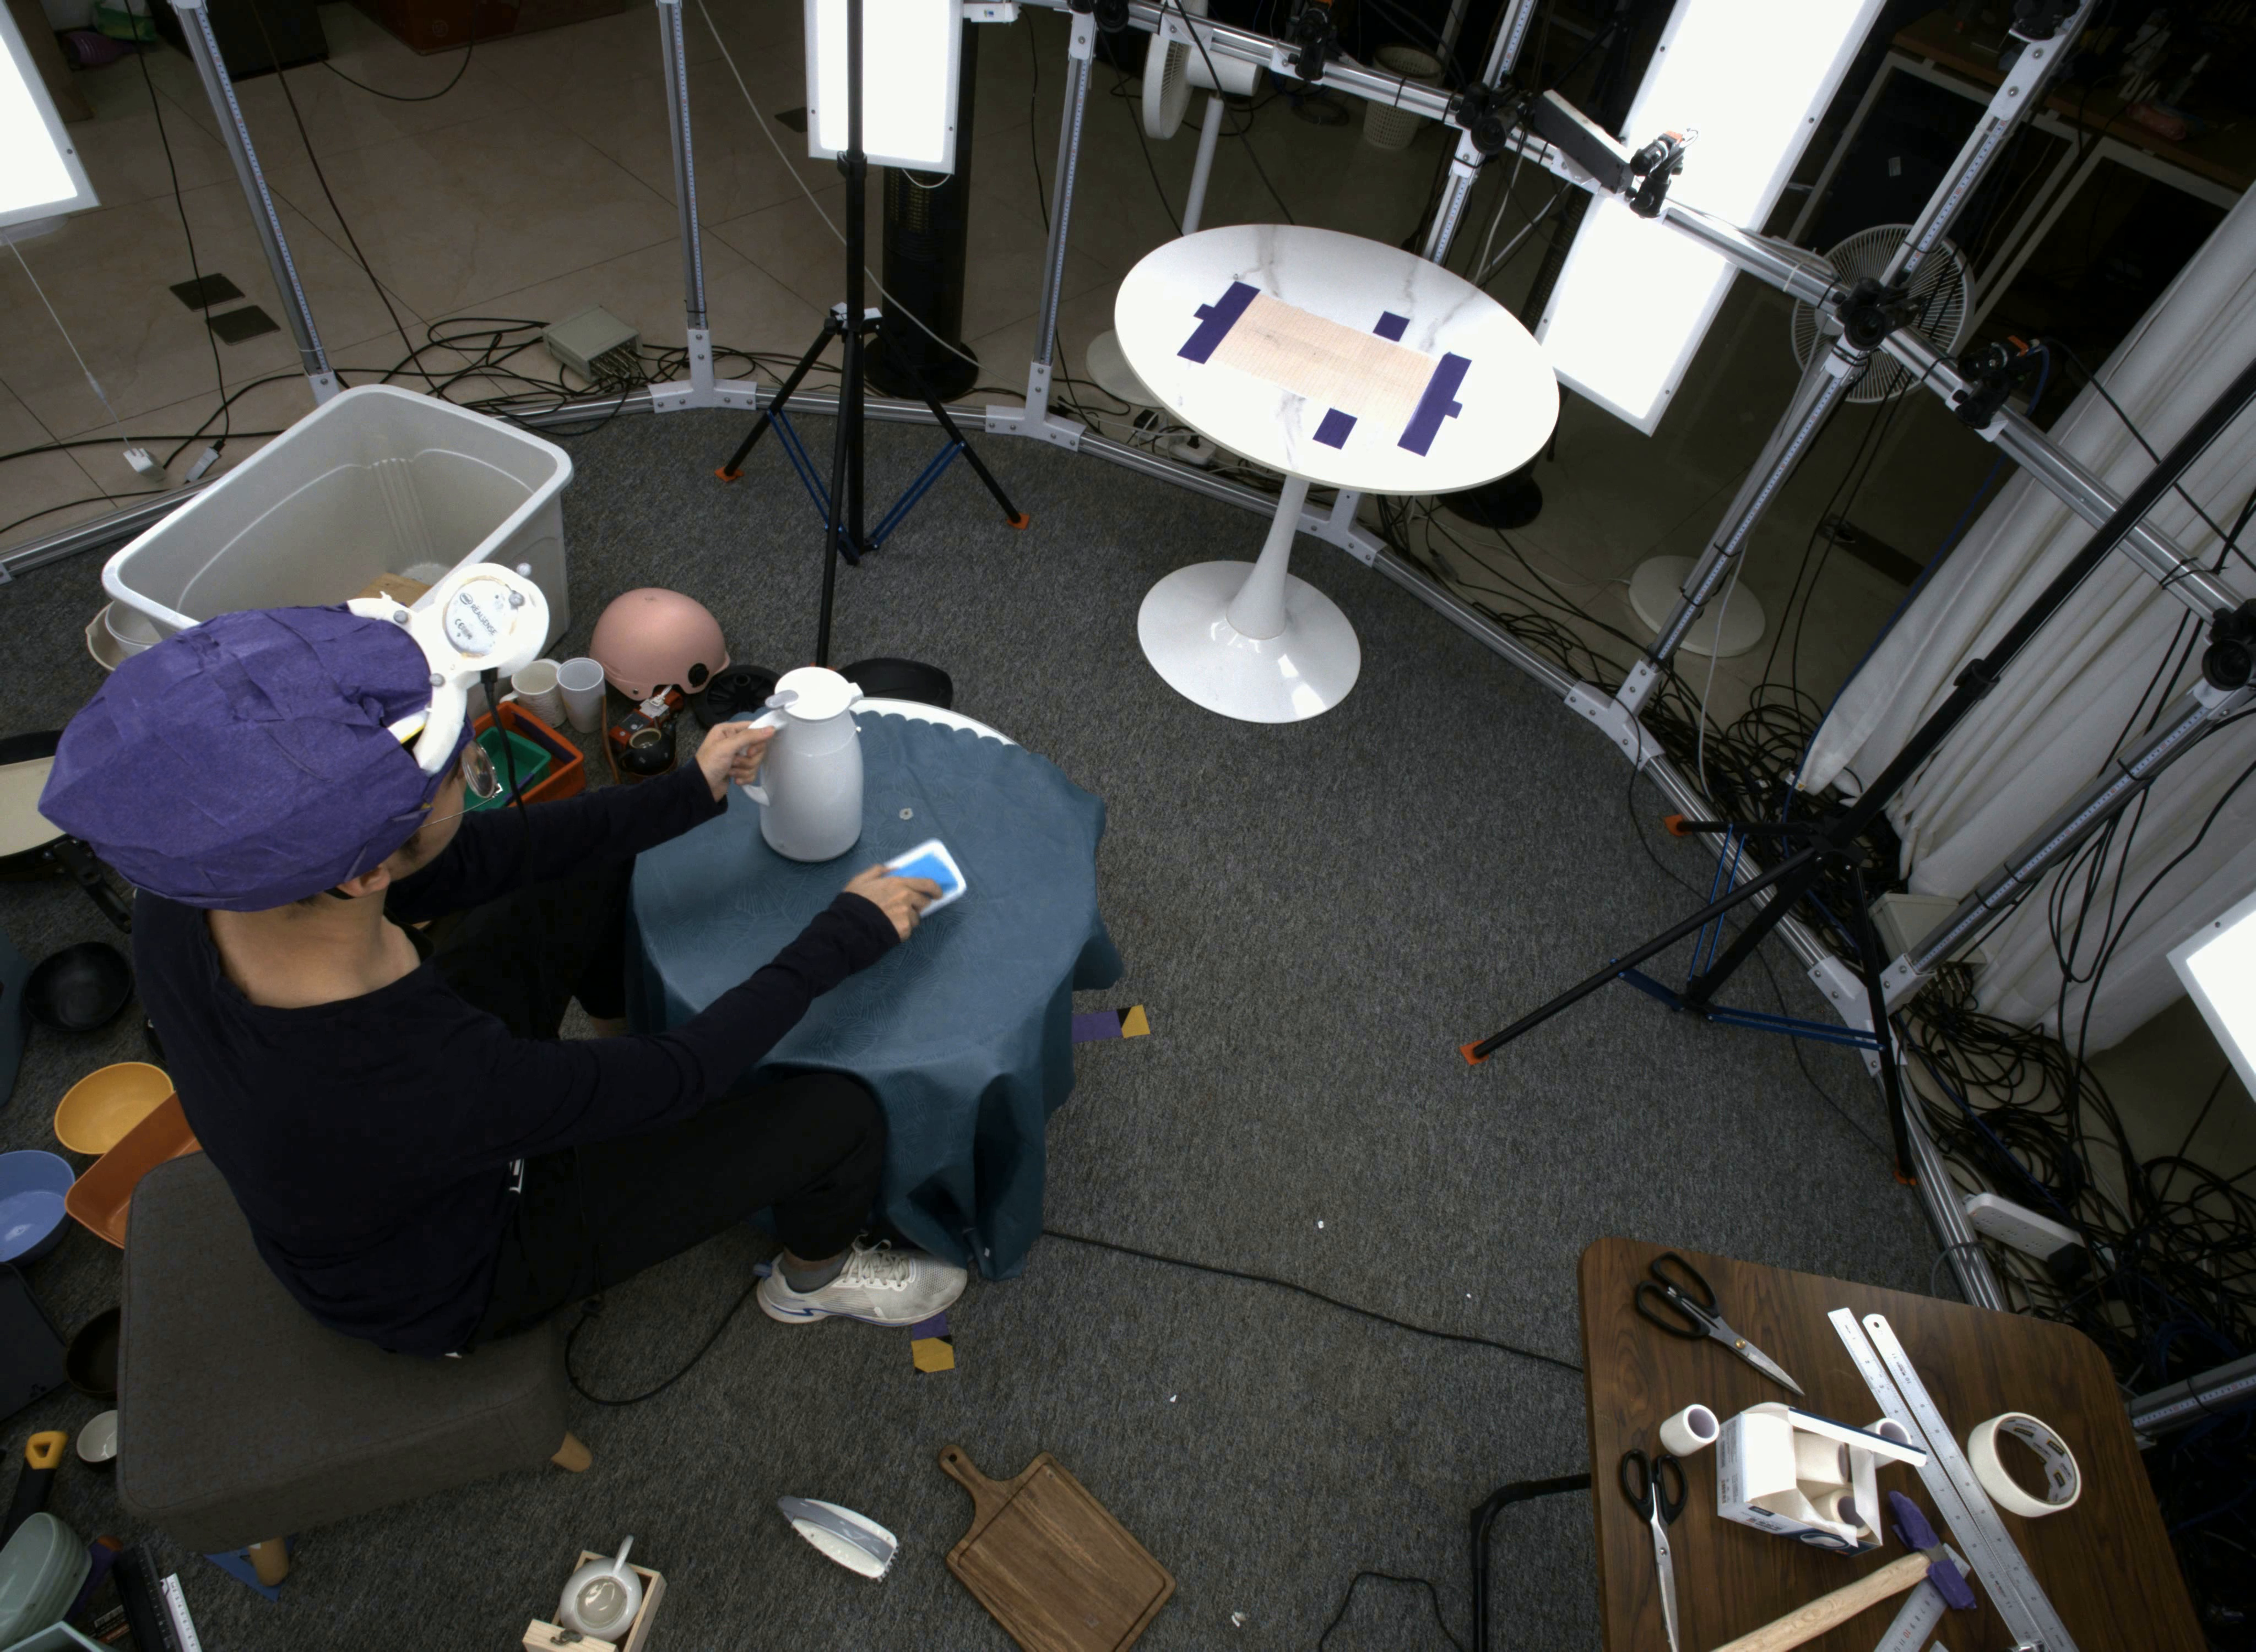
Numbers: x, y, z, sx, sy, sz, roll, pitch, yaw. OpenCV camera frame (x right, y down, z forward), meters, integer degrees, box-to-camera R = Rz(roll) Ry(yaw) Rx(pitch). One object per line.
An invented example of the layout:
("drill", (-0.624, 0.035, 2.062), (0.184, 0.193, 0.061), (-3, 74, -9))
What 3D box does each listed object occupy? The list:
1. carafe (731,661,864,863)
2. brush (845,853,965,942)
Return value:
("carafe", (-0.412, -0.078, 1.619), (0.168, 0.254, 0.129), (-26, 59, -30))
("brush", (-0.277, 0.080, 1.626), (0.144, 0.056, 0.083), (-25, 73, -27))
